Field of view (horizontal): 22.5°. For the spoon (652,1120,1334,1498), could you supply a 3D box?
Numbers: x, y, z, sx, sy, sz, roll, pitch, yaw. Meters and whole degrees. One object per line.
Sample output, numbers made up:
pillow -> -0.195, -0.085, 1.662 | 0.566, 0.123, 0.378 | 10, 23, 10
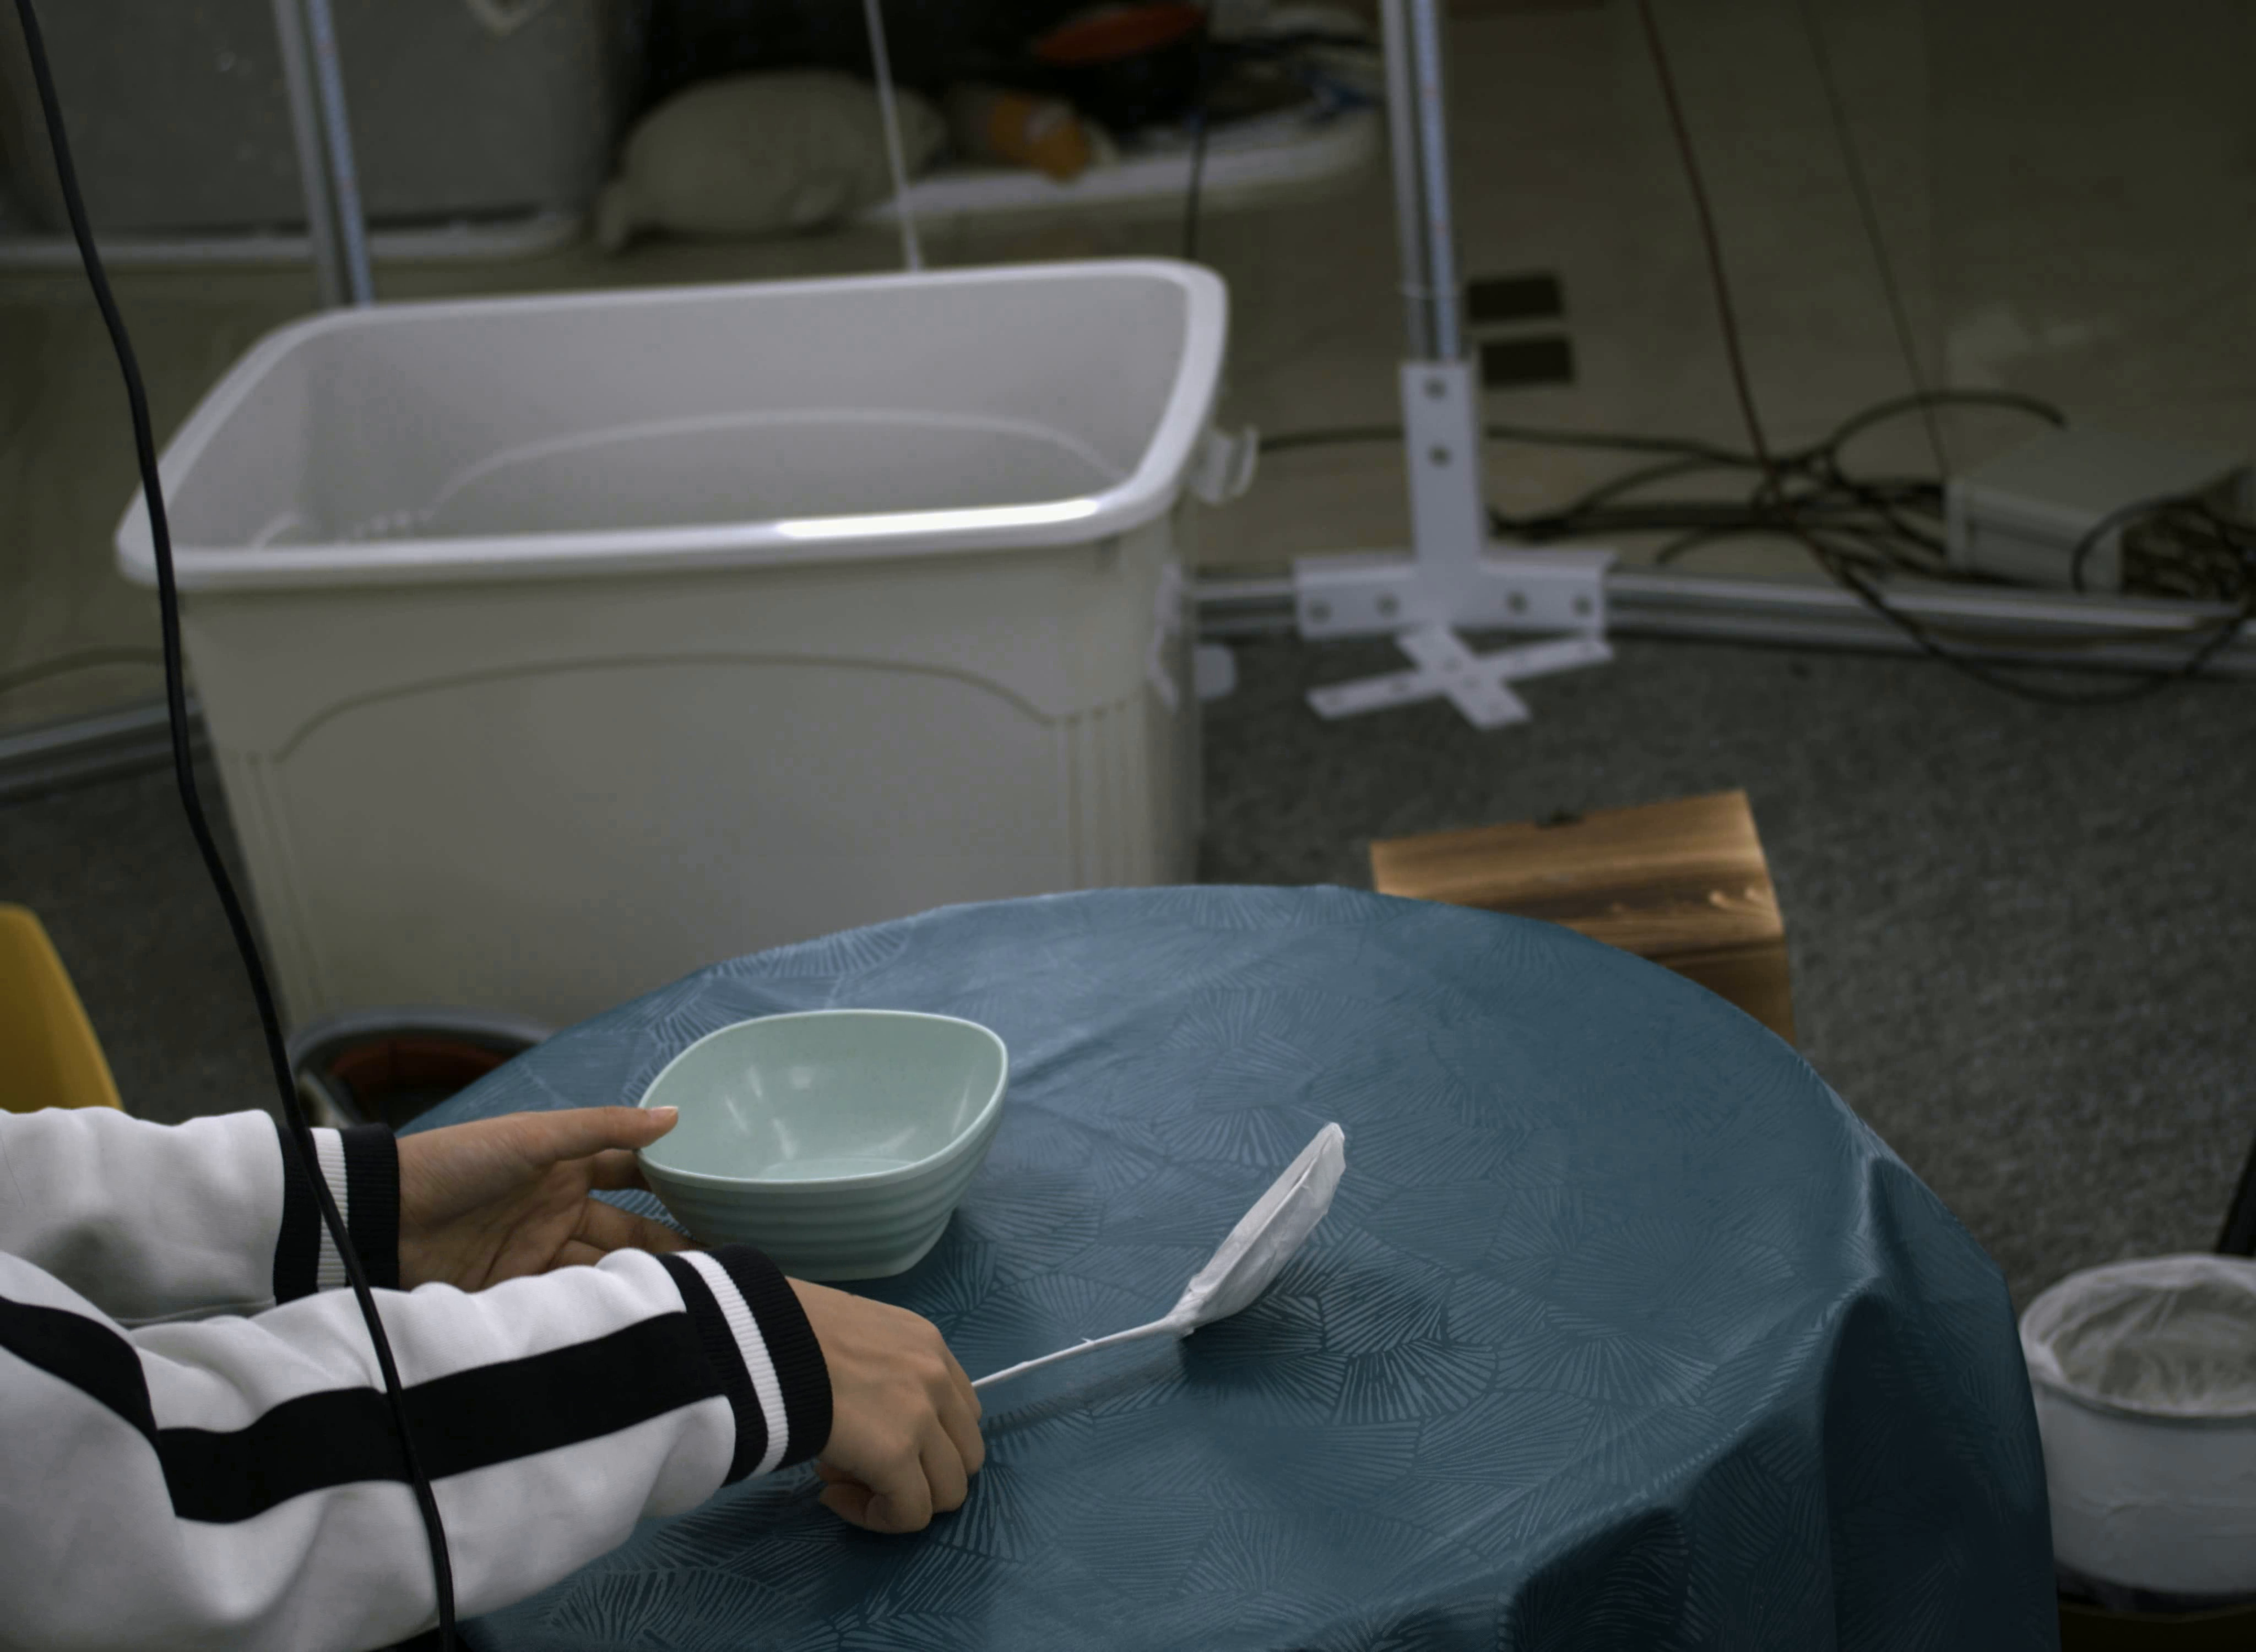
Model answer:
spoon -> -0.047, 0.172, 2.016 | 0.276, 0.059, 0.102 | -16, -16, -17

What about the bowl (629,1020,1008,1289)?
bowl -> -0.113, 0.129, 2.135 | 0.151, 0.059, 0.149 | -5, 25, 3
